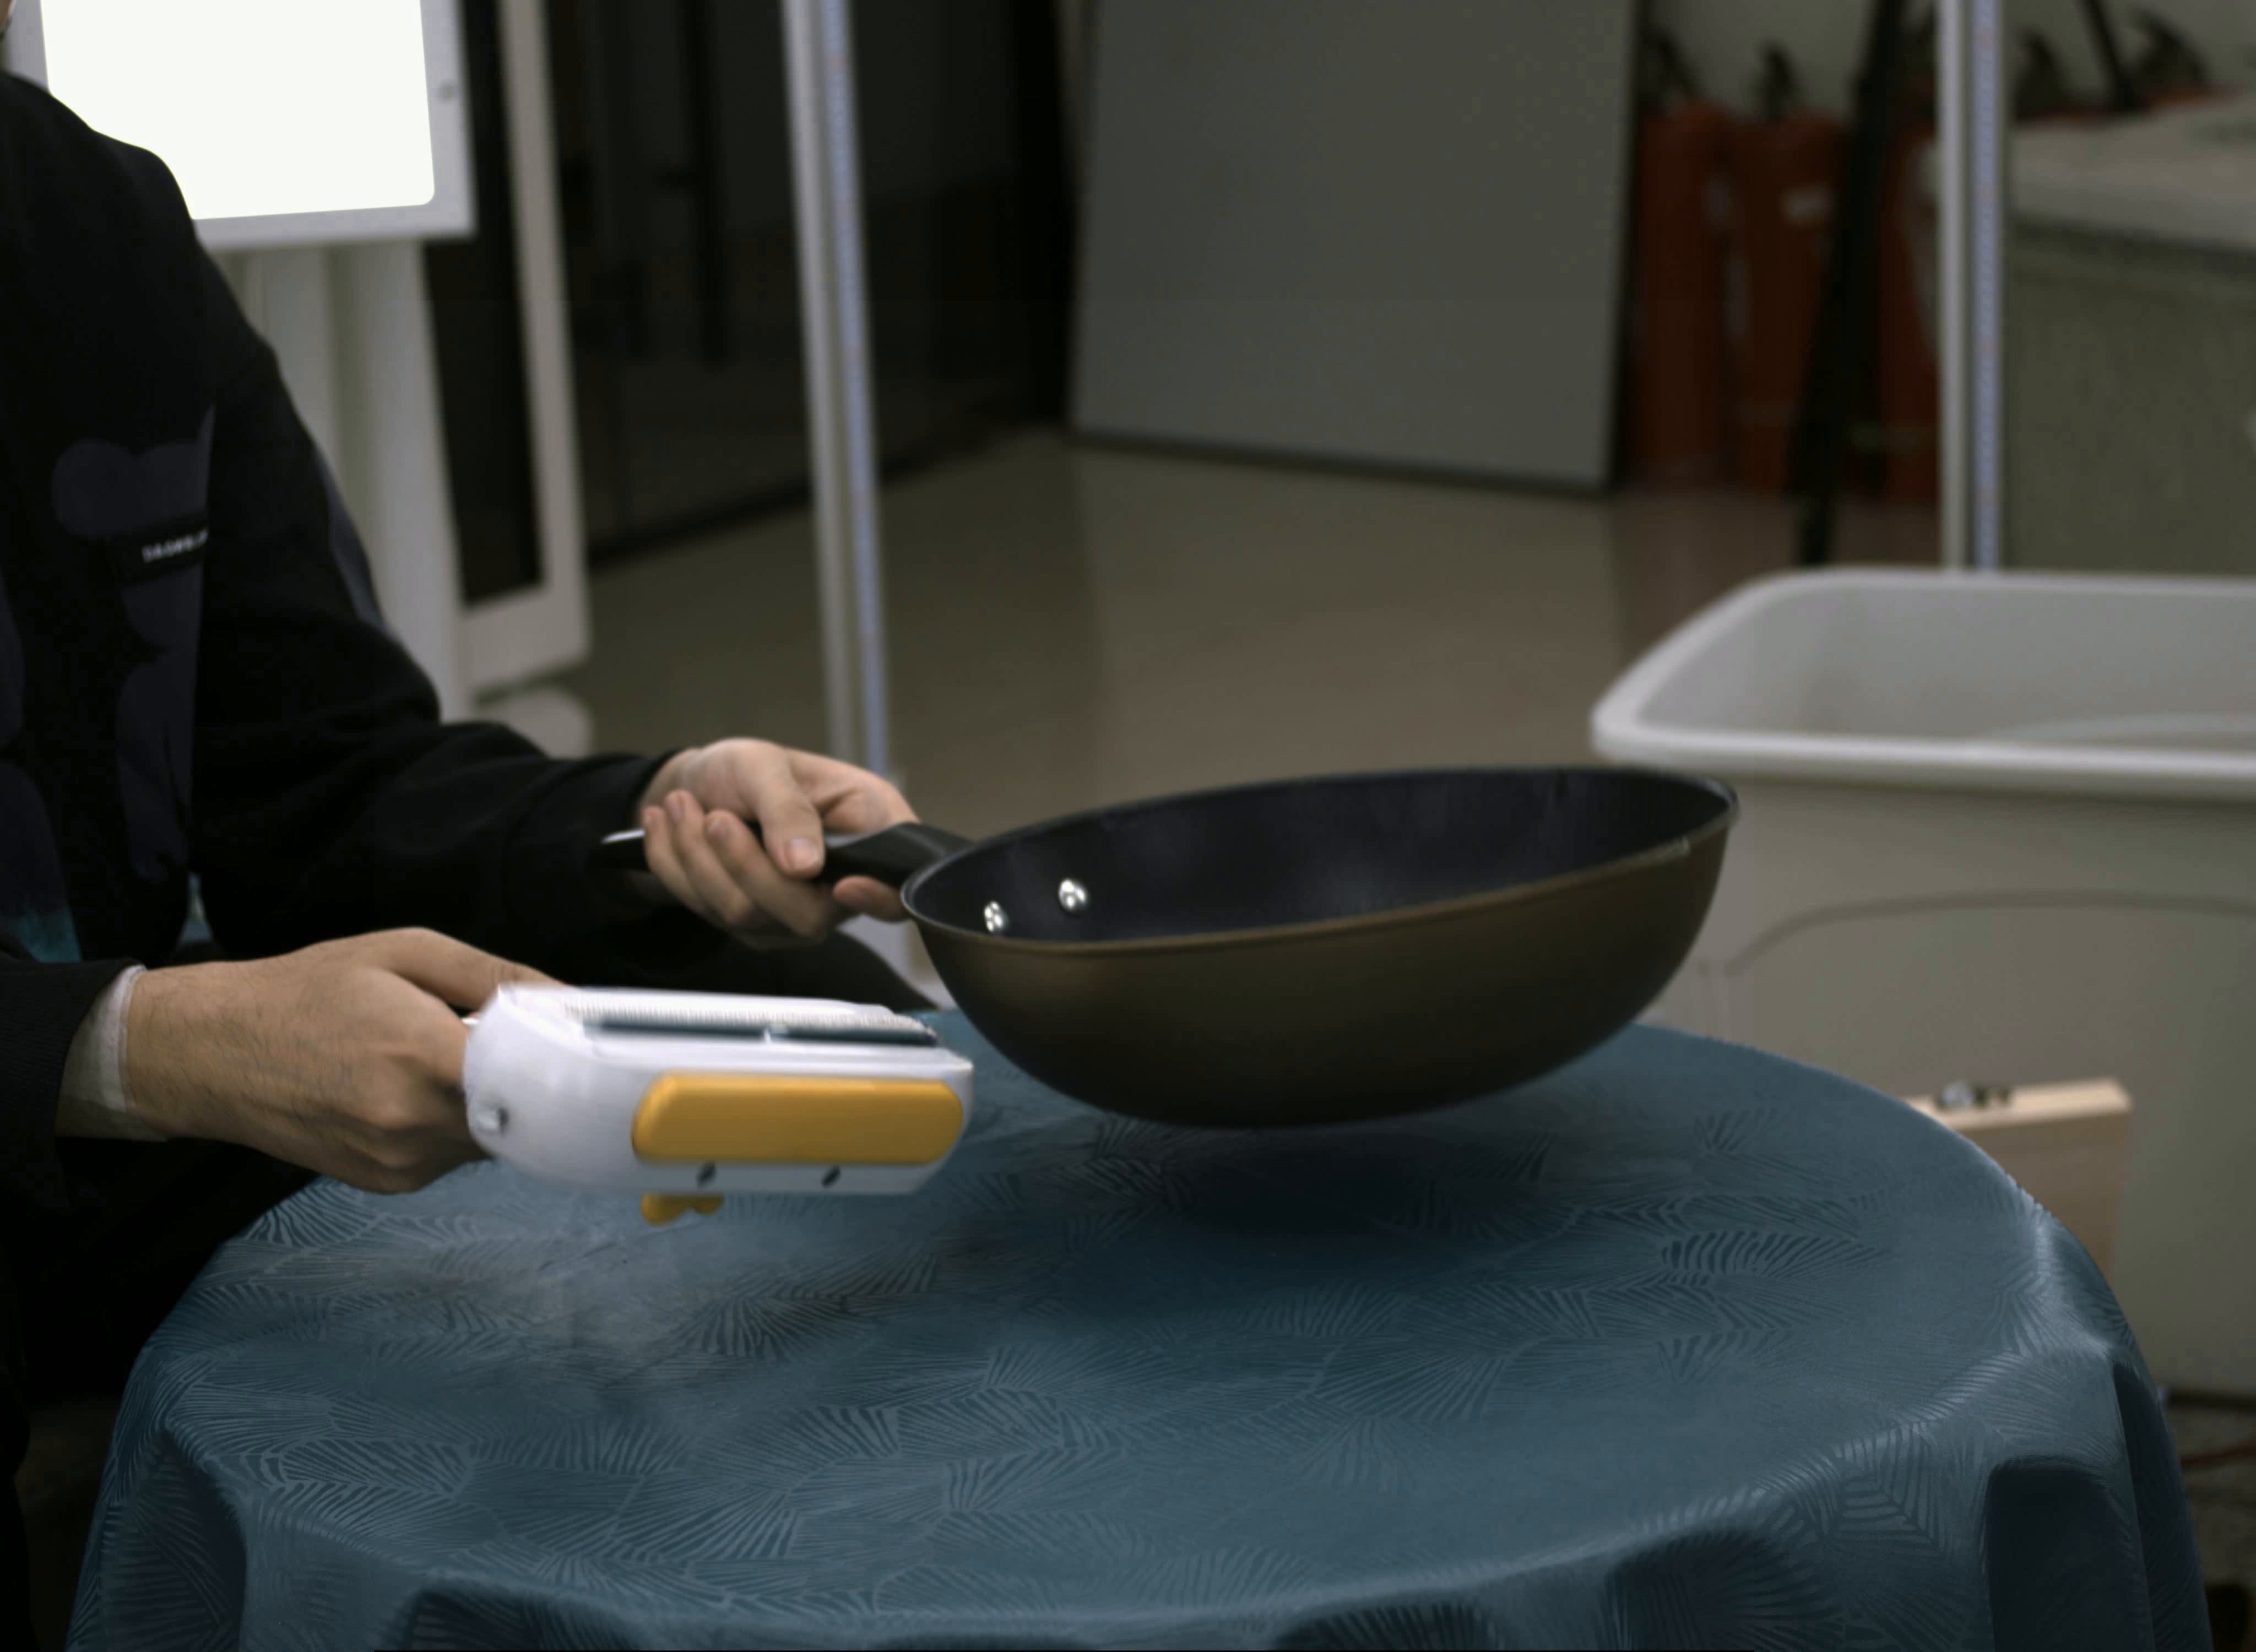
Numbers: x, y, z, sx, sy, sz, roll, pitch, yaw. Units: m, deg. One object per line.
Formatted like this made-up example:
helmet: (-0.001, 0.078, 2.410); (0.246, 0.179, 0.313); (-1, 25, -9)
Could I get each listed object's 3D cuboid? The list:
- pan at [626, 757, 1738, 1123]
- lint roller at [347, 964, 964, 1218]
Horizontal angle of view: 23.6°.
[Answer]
pan: (-0.003, 0.041, 1.826); (0.467, 0.088, 0.282); (-1, 11, 41)
lint roller: (-0.170, 0.073, 1.673); (0.194, 0.075, 0.188); (14, 8, 43)
